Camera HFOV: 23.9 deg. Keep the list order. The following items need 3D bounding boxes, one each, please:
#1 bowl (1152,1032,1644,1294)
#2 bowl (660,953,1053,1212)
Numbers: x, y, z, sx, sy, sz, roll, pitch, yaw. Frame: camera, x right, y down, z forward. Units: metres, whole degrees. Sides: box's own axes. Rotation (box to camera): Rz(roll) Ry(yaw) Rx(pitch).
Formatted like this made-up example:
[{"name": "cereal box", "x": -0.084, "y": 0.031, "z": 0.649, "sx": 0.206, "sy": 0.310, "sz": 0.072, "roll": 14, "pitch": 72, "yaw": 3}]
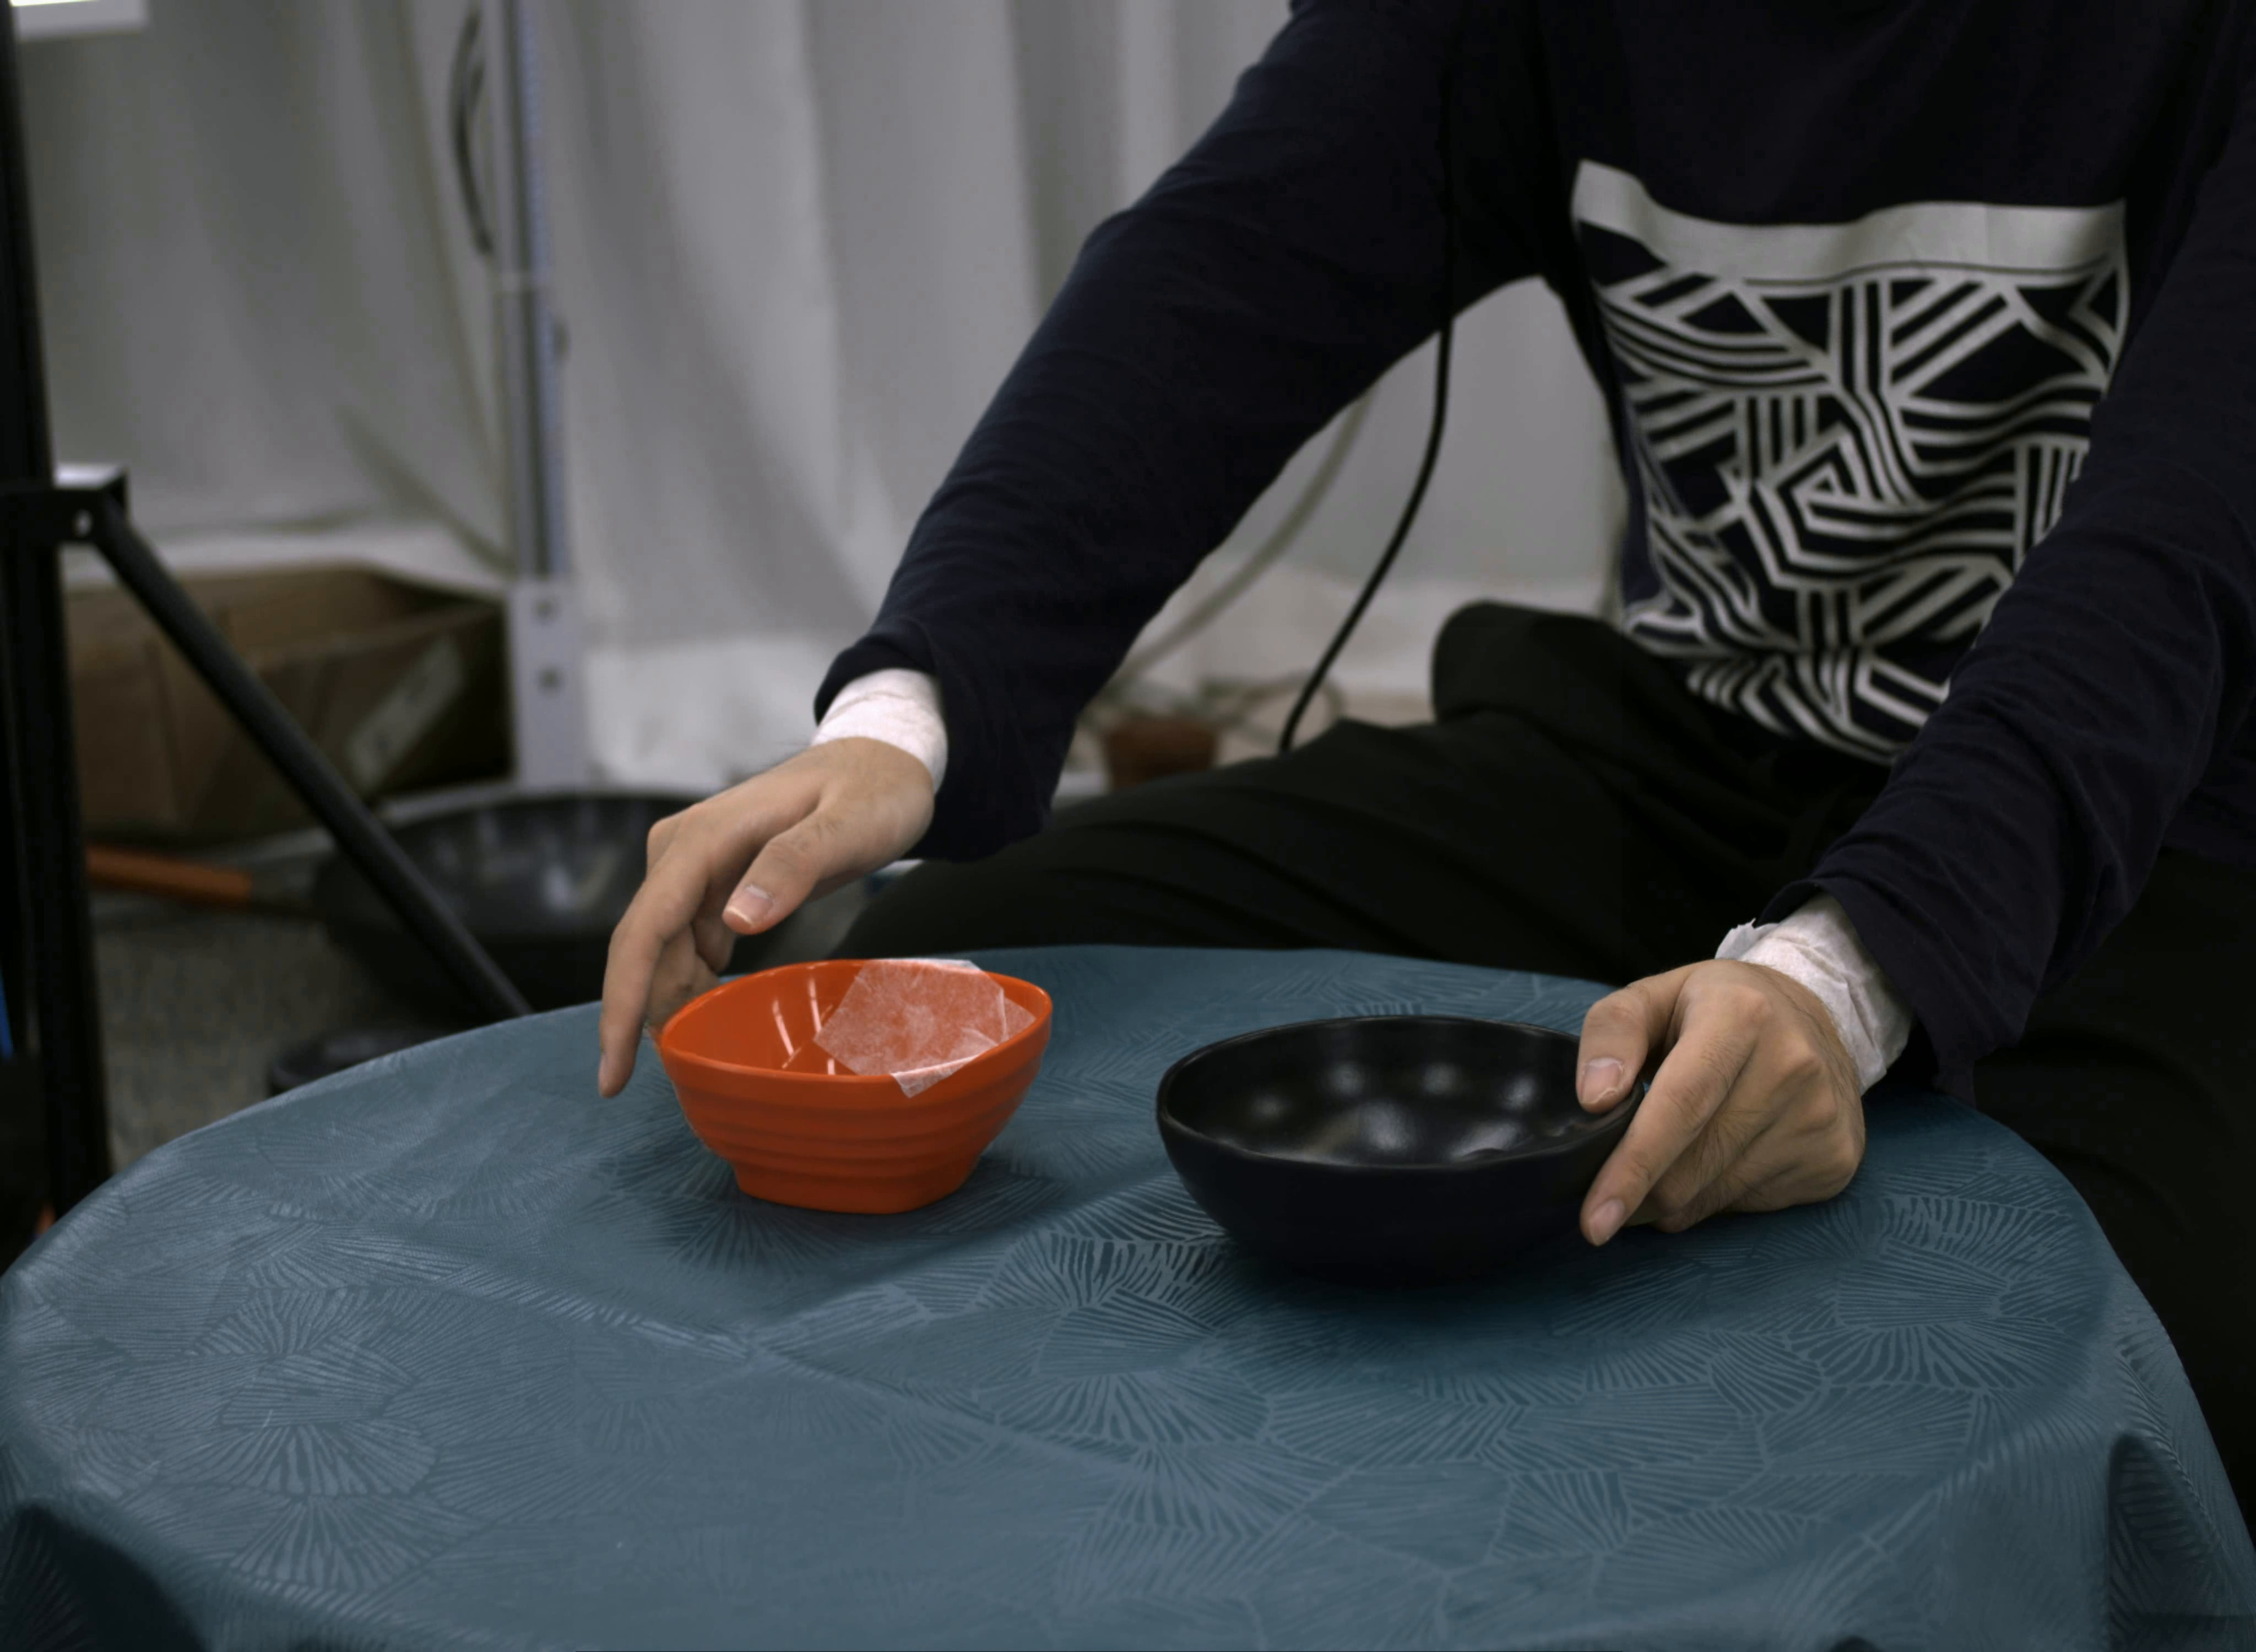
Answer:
[{"name": "bowl", "x": 0.076, "y": 0.099, "z": 1.499, "sx": 0.139, "sy": 0.050, "sz": 0.140, "roll": 0, "pitch": 12, "yaw": -1}, {"name": "bowl", "x": -0.078, "y": 0.079, "z": 1.582, "sx": 0.118, "sy": 0.051, "sz": 0.119, "roll": -4, "pitch": 16, "yaw": 0}]
